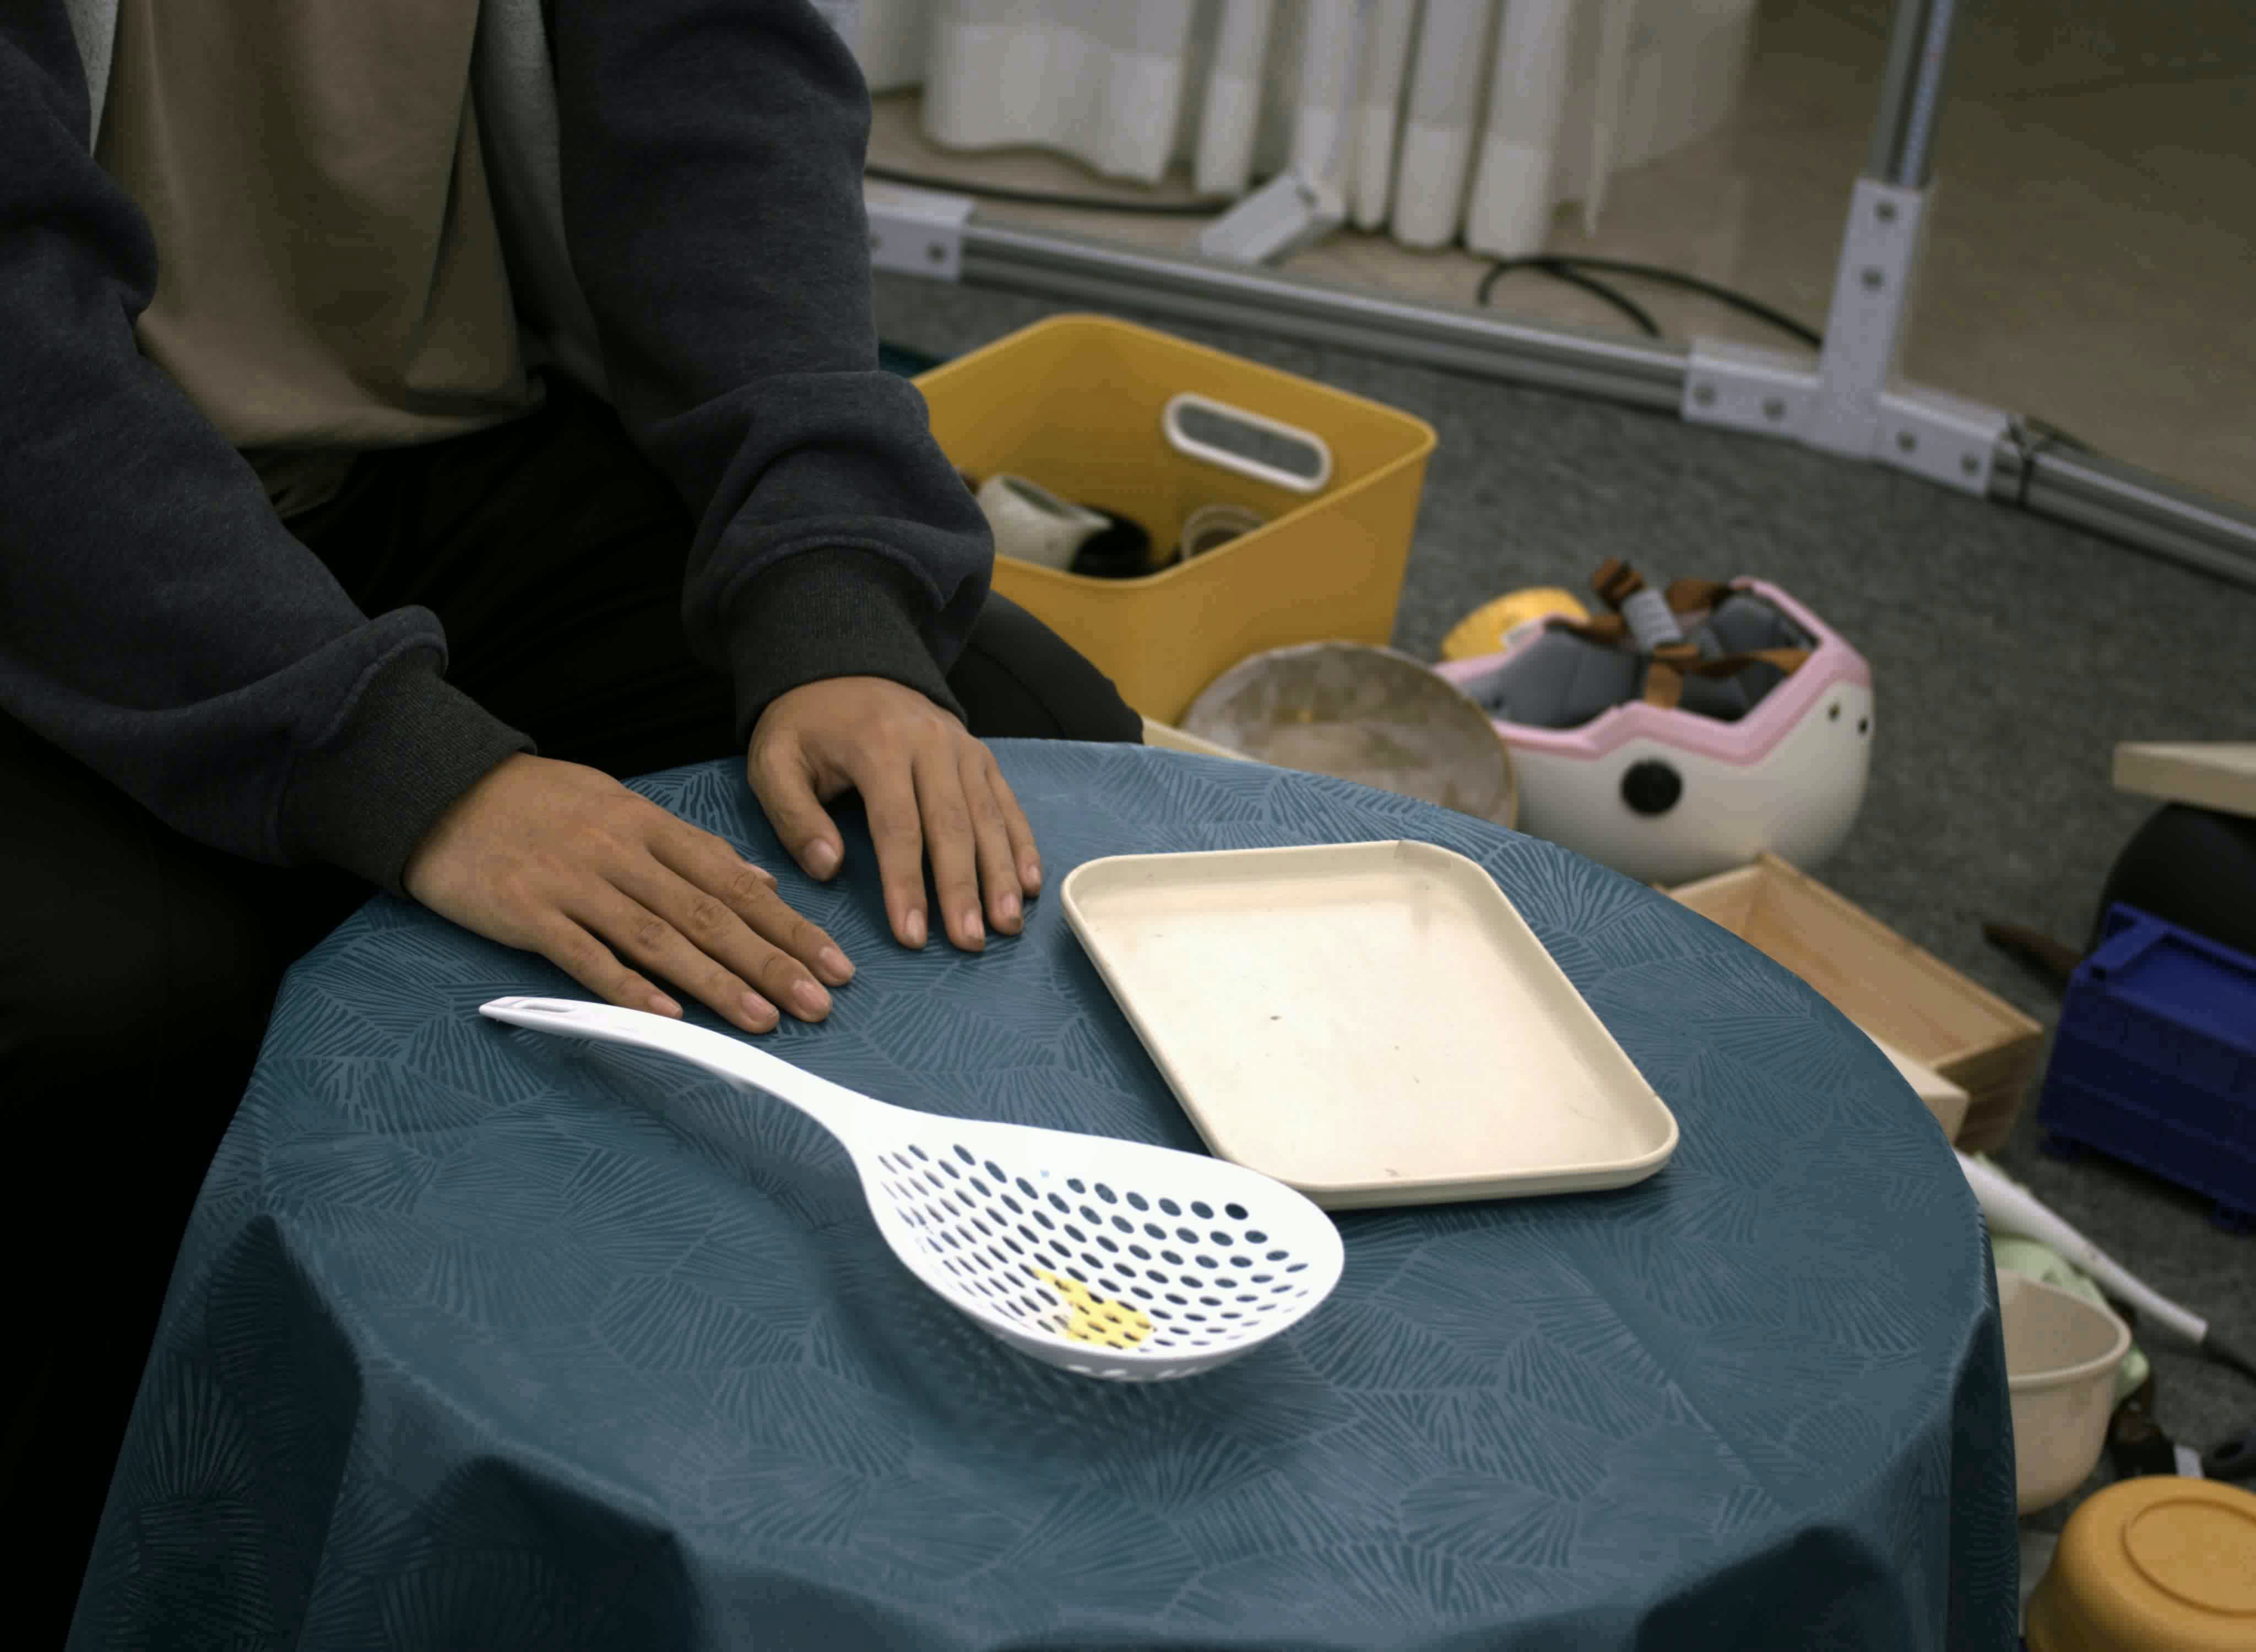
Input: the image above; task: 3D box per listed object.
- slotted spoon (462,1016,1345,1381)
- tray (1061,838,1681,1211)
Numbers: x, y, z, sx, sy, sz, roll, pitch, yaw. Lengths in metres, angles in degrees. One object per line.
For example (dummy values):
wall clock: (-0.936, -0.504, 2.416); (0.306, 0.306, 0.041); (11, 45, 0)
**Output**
slotted spoon: (-0.087, 0.109, 1.764); (0.350, 0.050, 0.136); (25, 34, 31)
tray: (0.083, 0.070, 1.906); (0.170, 0.017, 0.242); (-4, 29, -18)
